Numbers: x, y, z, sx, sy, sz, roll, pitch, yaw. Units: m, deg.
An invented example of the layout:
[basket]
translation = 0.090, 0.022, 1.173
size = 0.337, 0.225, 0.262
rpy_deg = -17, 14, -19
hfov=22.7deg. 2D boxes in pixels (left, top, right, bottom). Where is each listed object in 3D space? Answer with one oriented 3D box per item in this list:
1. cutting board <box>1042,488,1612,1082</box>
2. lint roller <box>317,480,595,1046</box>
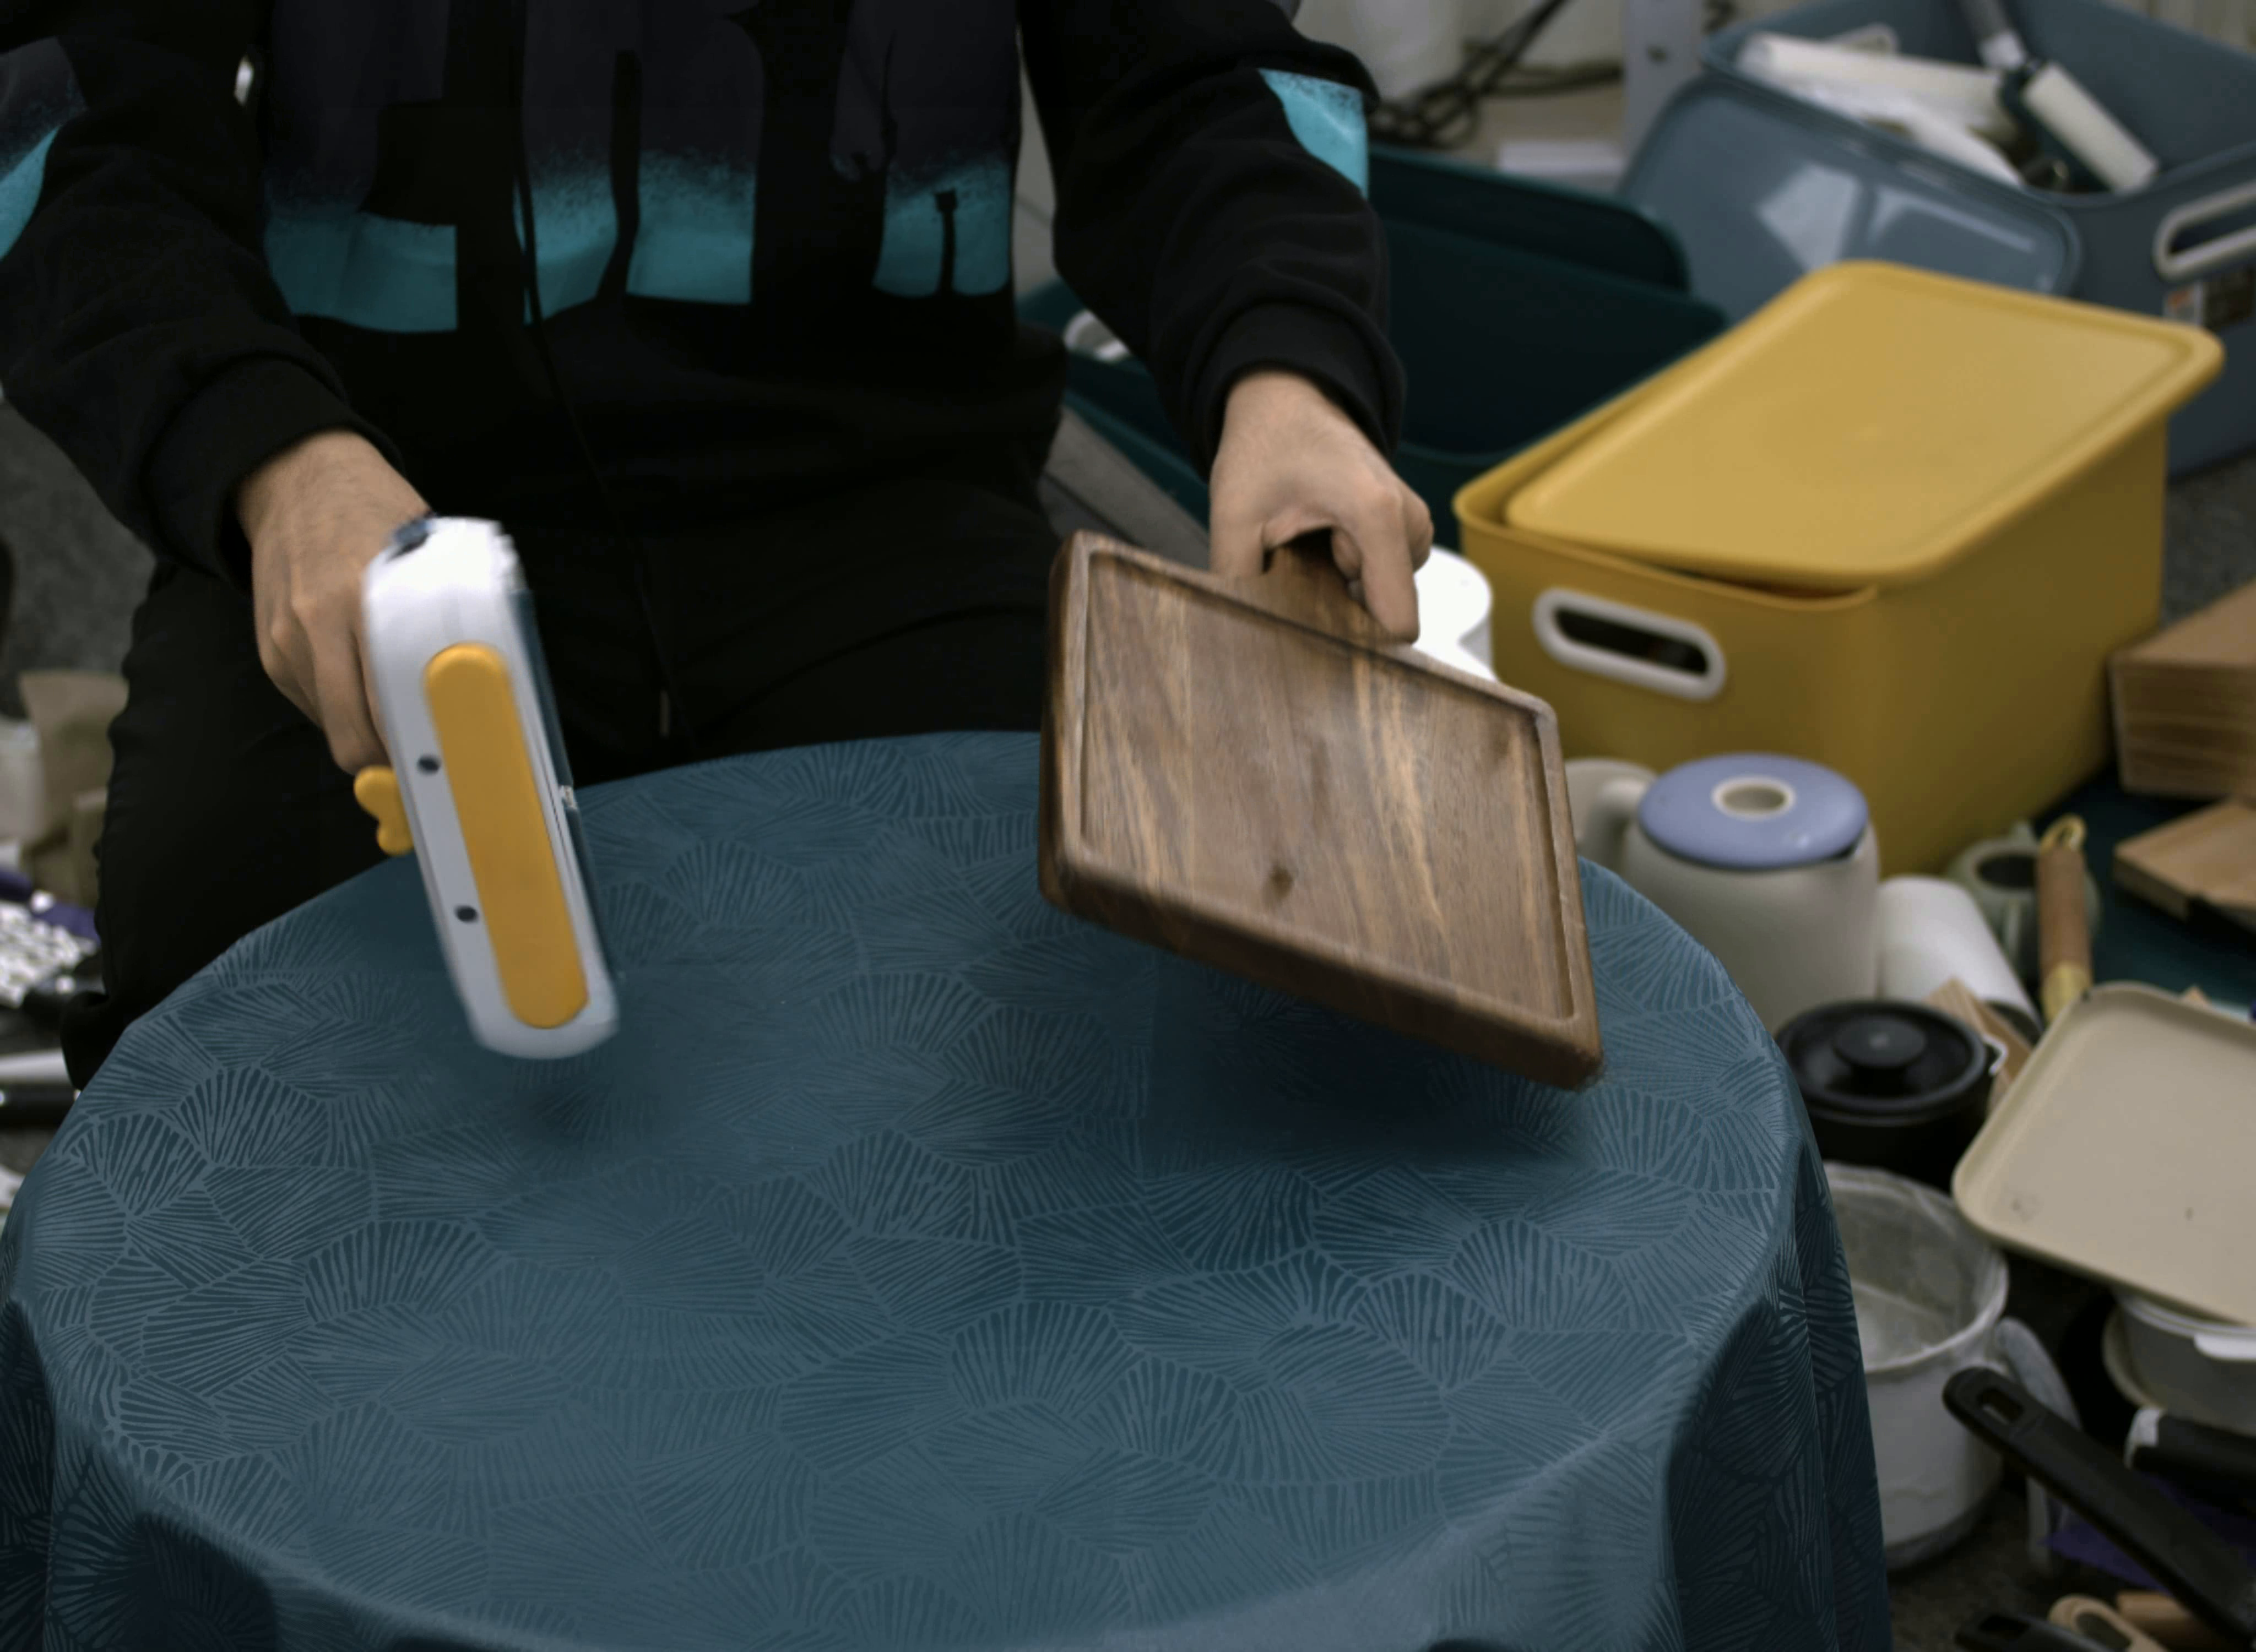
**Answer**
[cutting board]
translation = 0.064, -0.035, 1.984
size = 0.200, 0.023, 0.357
rpy_deg = 20, 26, -10
[lint roller]
translation = -0.235, -0.037, 1.917
size = 0.074, 0.191, 0.194
rpy_deg = -15, 24, -10
